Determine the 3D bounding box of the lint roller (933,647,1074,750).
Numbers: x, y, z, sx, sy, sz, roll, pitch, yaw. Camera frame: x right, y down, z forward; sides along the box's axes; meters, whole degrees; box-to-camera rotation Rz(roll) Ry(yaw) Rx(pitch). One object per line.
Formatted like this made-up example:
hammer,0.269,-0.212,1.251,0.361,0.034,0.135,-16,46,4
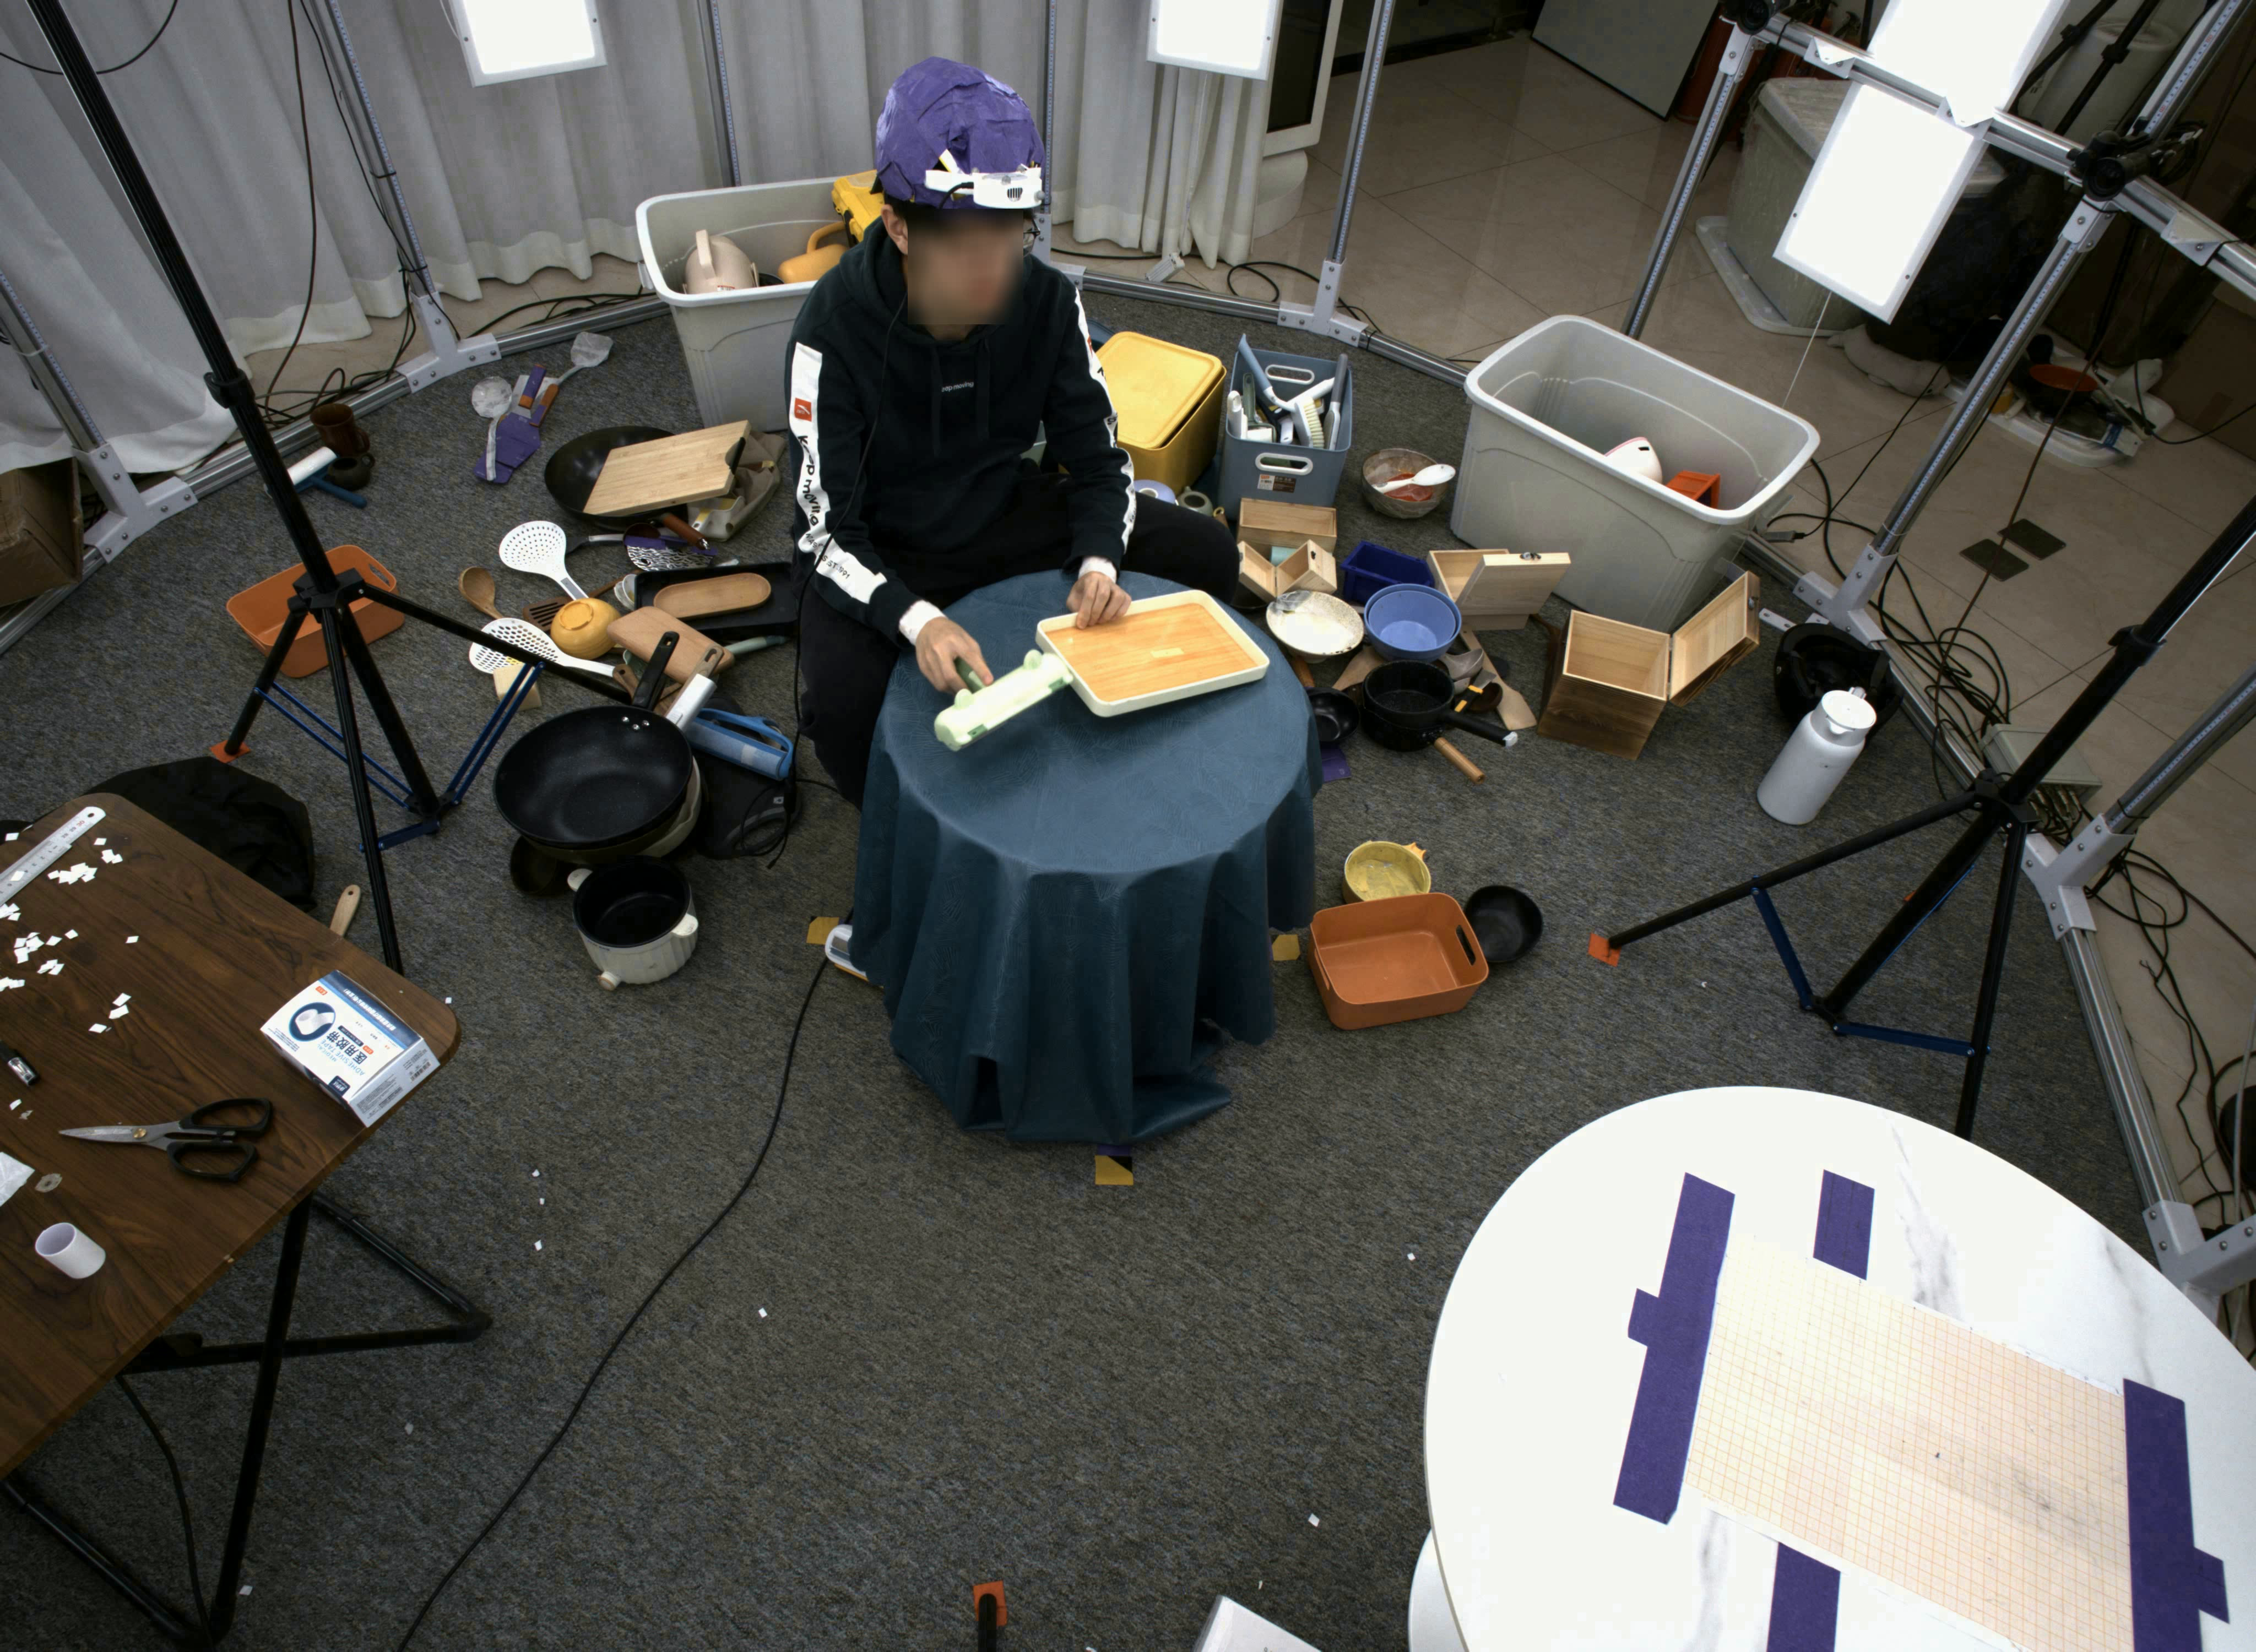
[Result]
lint roller,-0.201,-0.205,1.712,0.200,0.080,0.186,-35,60,-27

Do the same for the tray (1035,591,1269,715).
tray,0.036,-0.253,1.837,0.301,0.027,0.195,-16,51,-30
